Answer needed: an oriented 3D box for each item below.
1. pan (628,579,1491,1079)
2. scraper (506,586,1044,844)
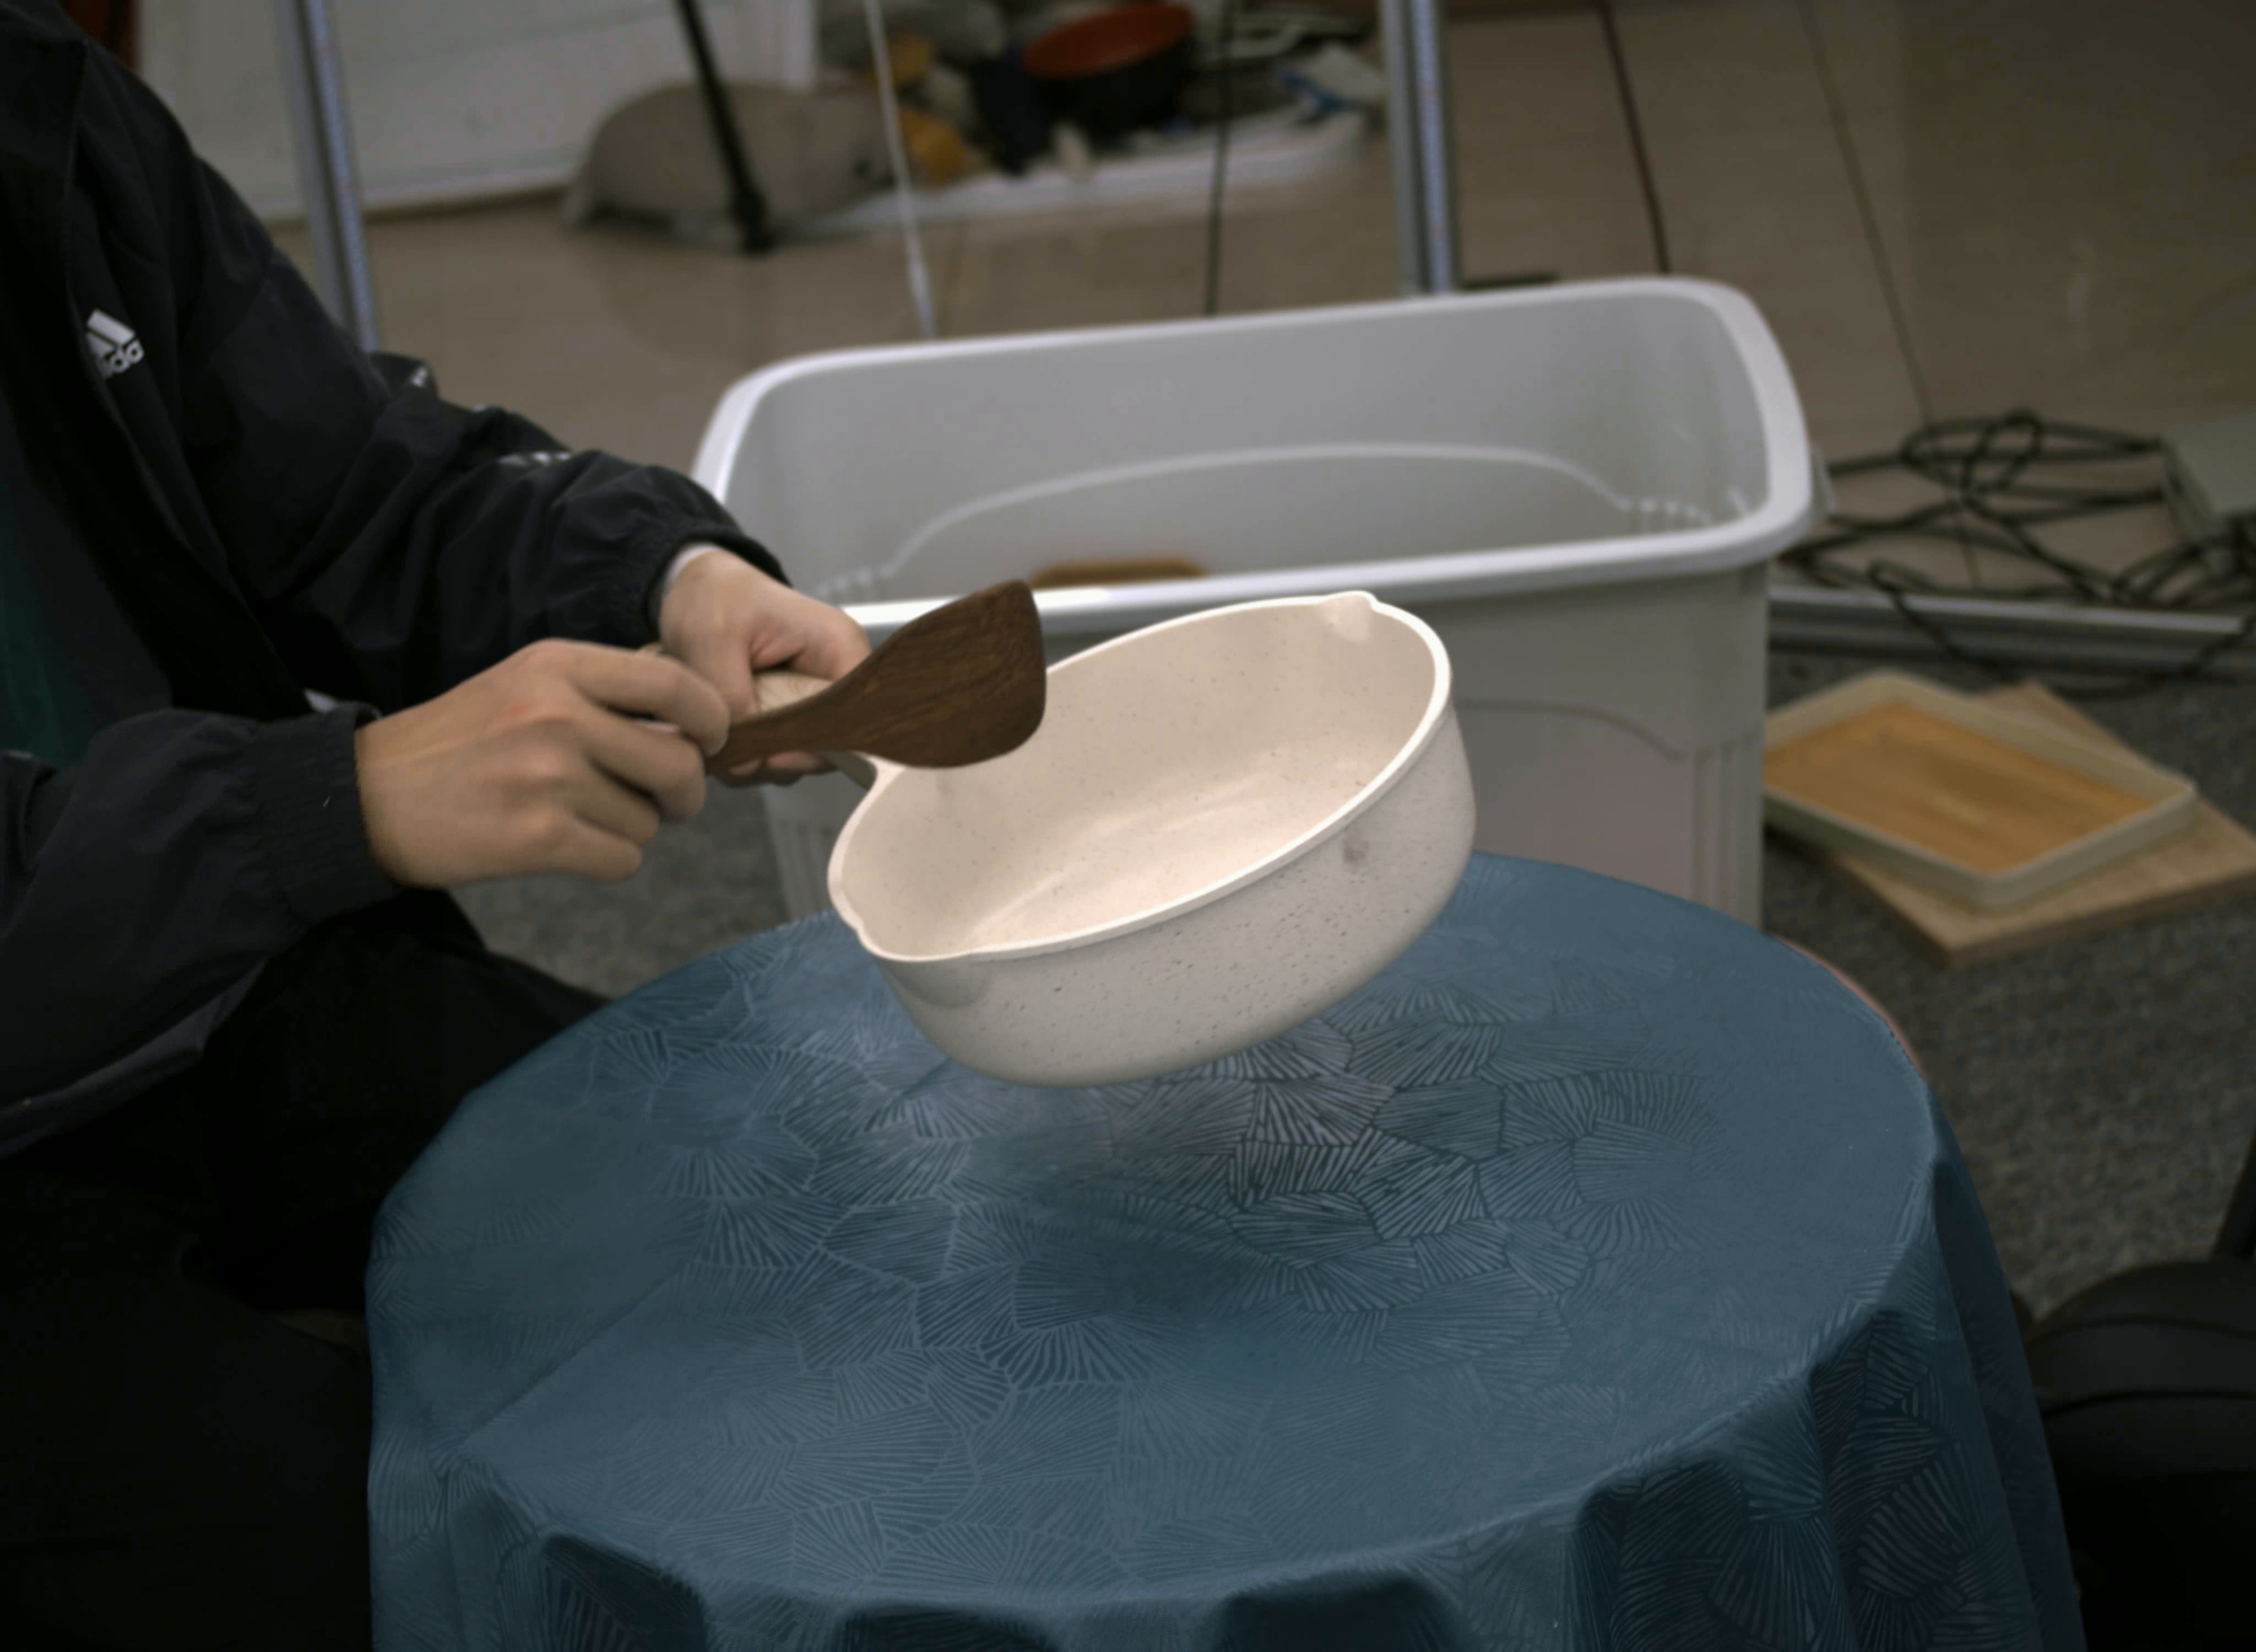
[{"bbox_3d":[-0.041,-0.007,2.219,0.260,0.103,0.433,-40,29,-31],"label":"pan"},{"bbox_3d":[-0.130,-0.032,2.107,0.210,0.077,0.010,-16,37,-12],"label":"scraper"}]
